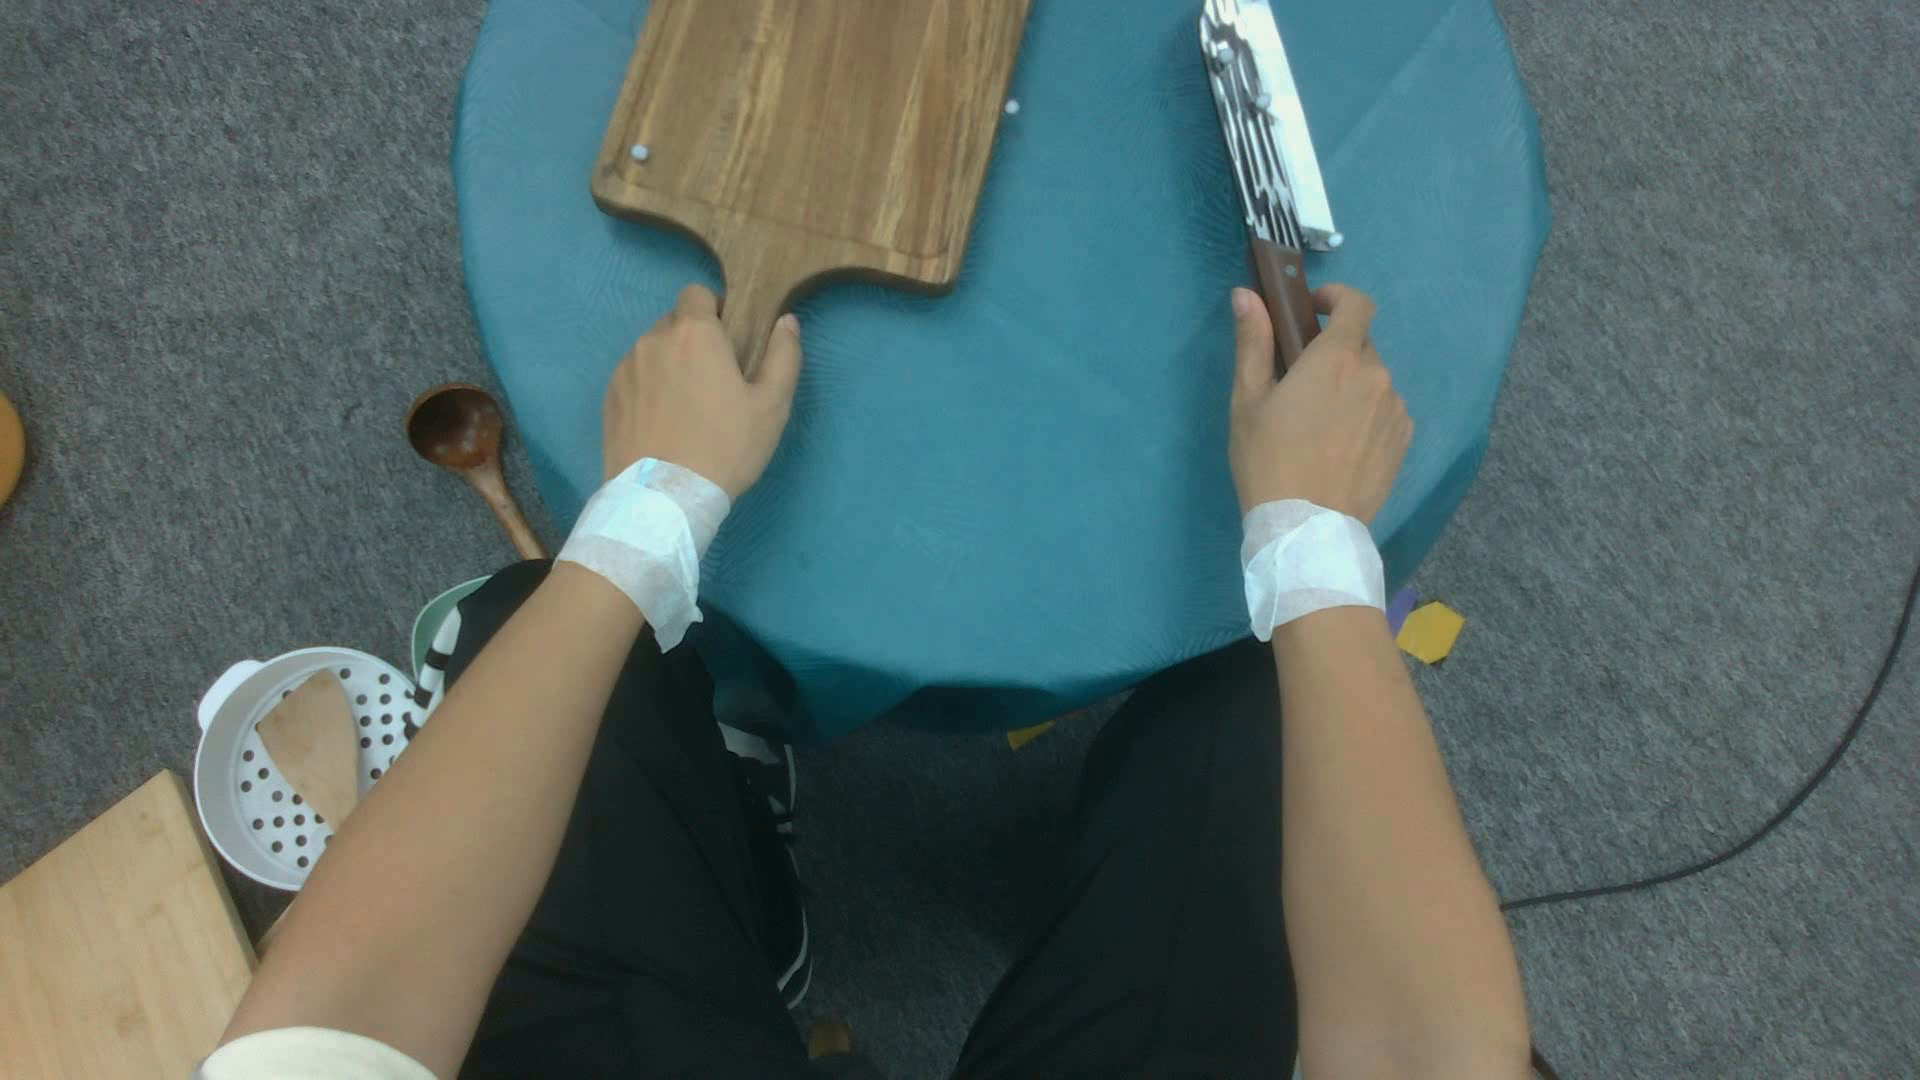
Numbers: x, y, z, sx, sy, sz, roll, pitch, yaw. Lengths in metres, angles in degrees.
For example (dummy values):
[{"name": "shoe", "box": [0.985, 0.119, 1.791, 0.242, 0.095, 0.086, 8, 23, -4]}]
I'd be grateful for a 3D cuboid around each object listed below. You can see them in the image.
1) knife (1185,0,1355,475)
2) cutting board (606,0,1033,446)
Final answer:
[{"name": "knife", "box": [0.172, -0.178, 0.746, 0.068, 0.024, 0.300, -5, 74, -31]}, {"name": "cutting board", "box": [-0.079, -0.218, 0.754, 0.201, 0.023, 0.353, 13, 75, 1]}]
